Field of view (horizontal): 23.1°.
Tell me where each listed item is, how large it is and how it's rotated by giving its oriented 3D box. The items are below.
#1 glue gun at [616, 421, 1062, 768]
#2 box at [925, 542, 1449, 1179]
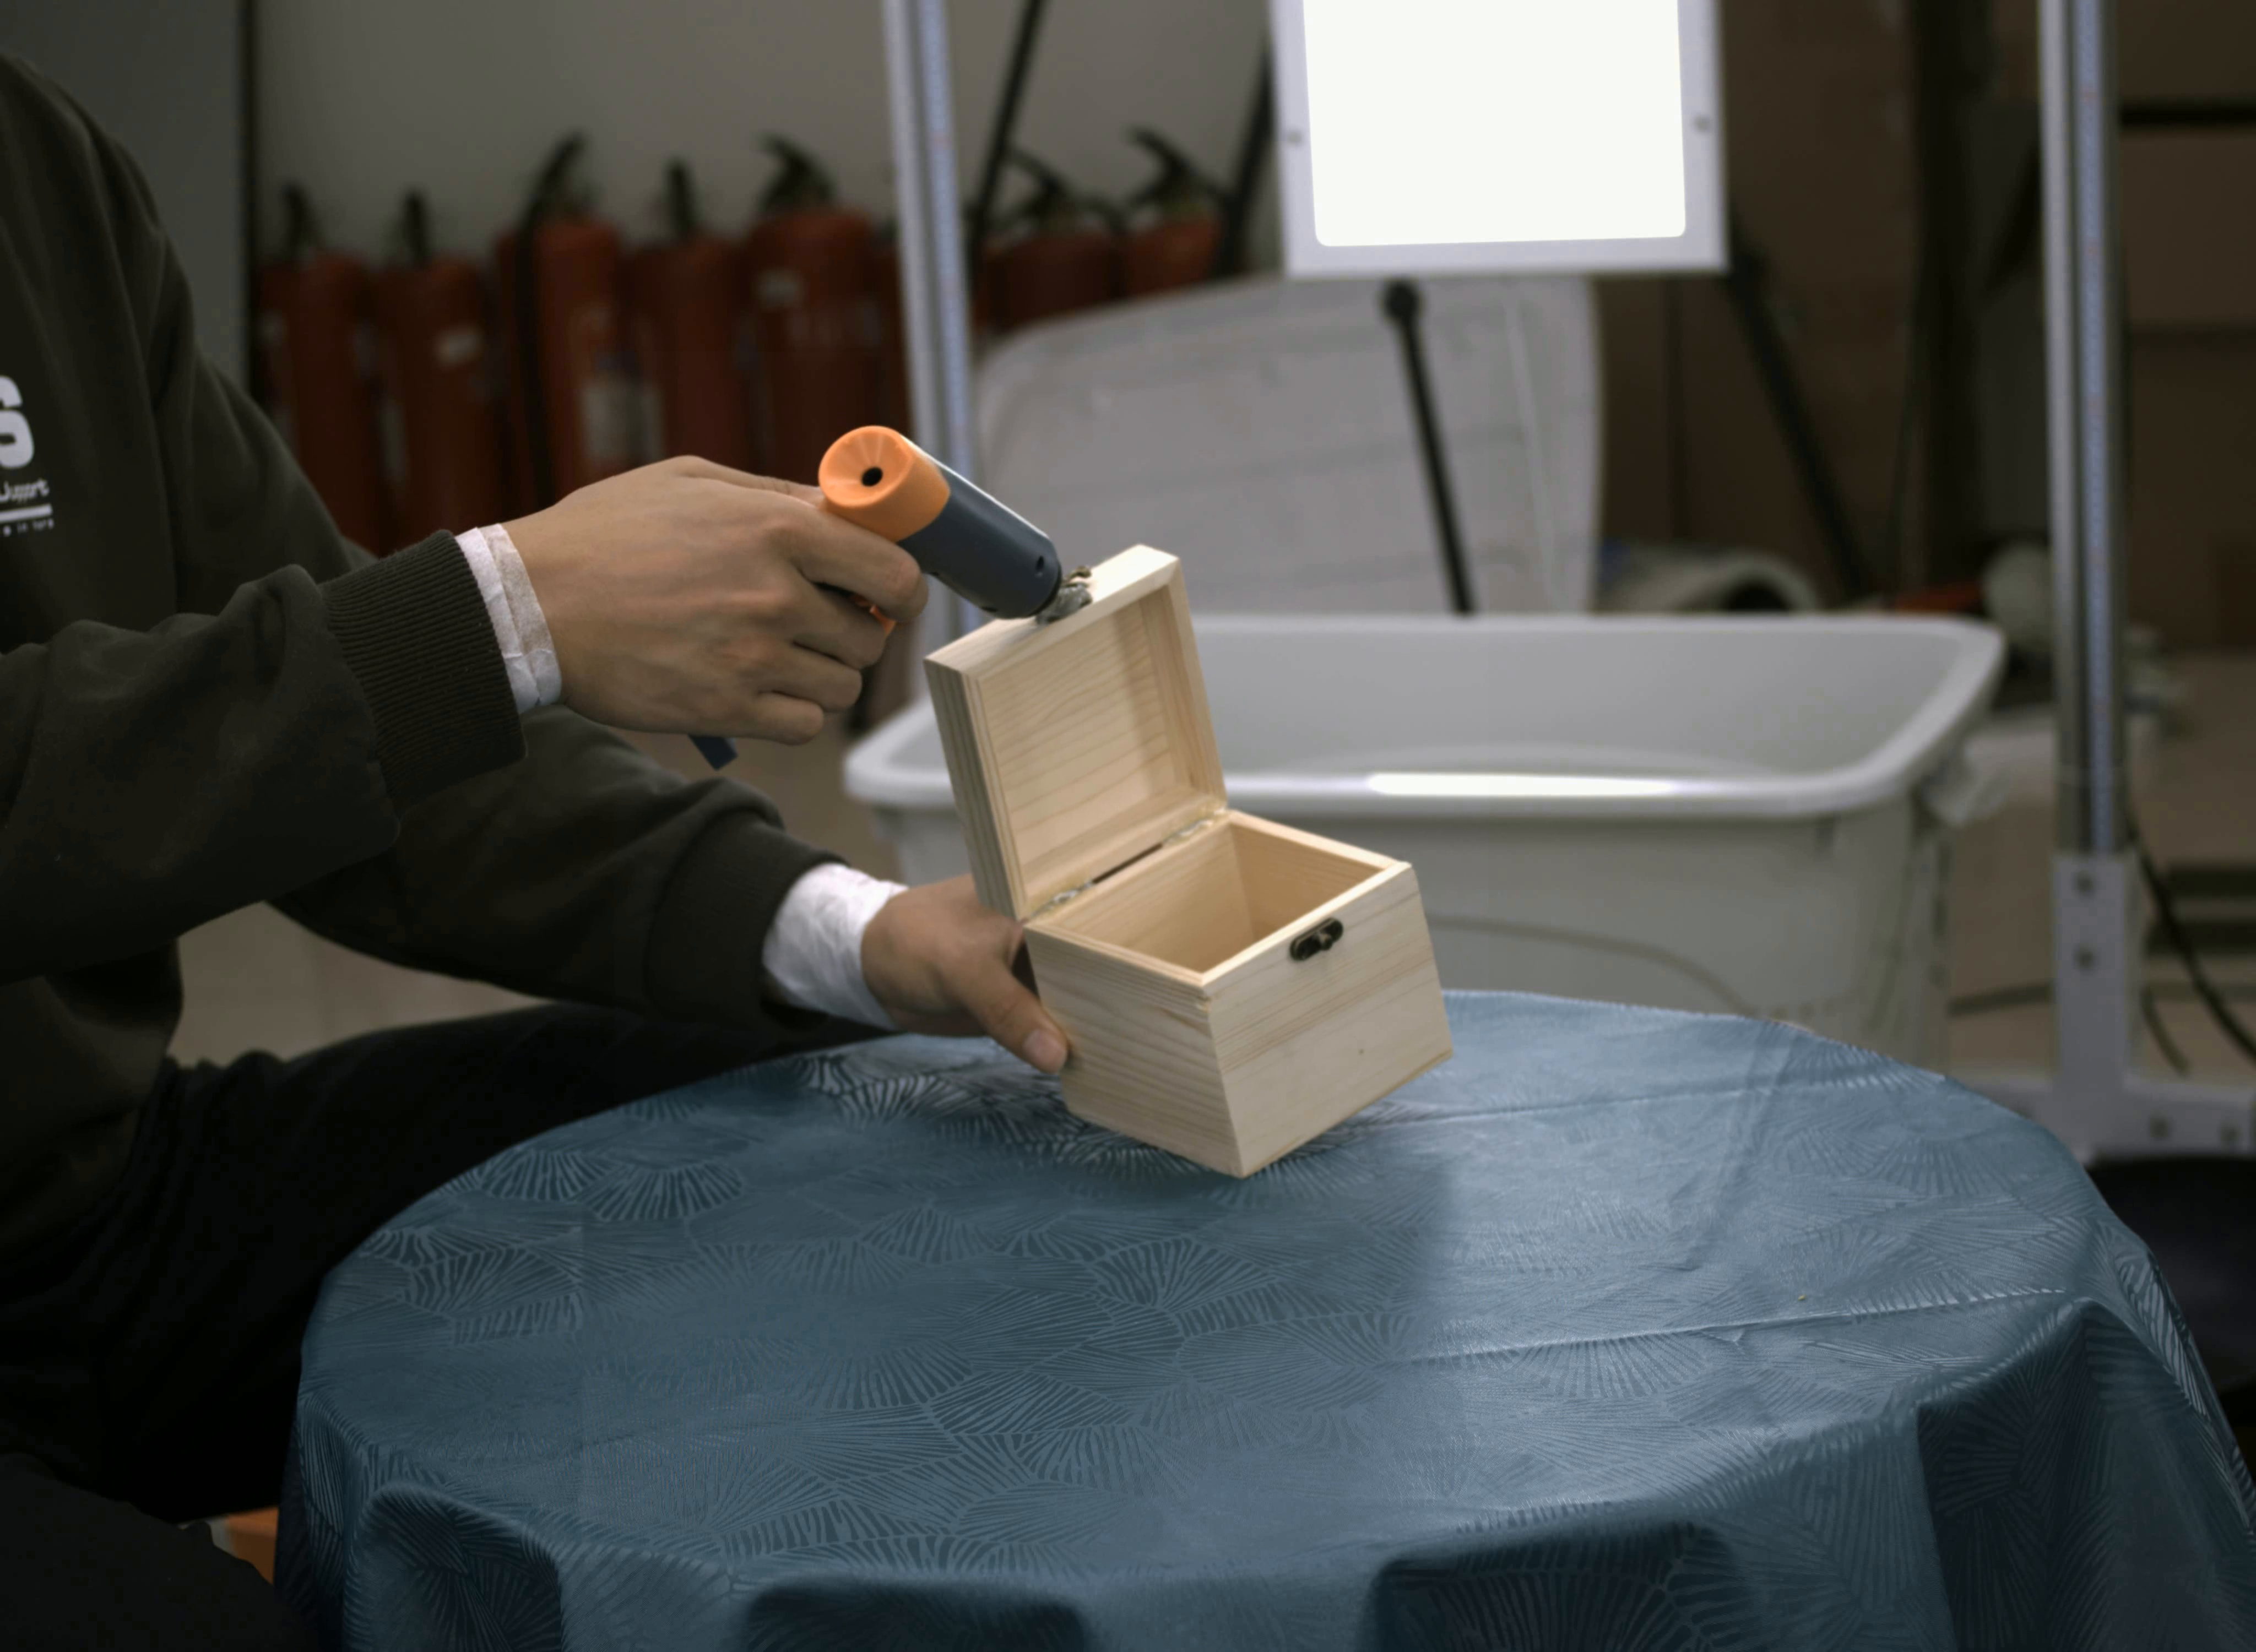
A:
[{"bbox_3d":[-0.096,-0.078,1.883,0.140,0.117,0.041,-29,53,2],"label":"glue gun"},{"bbox_3d":[0.023,0.010,1.936,0.100,0.185,0.136,-28,27,-31],"label":"box"}]
